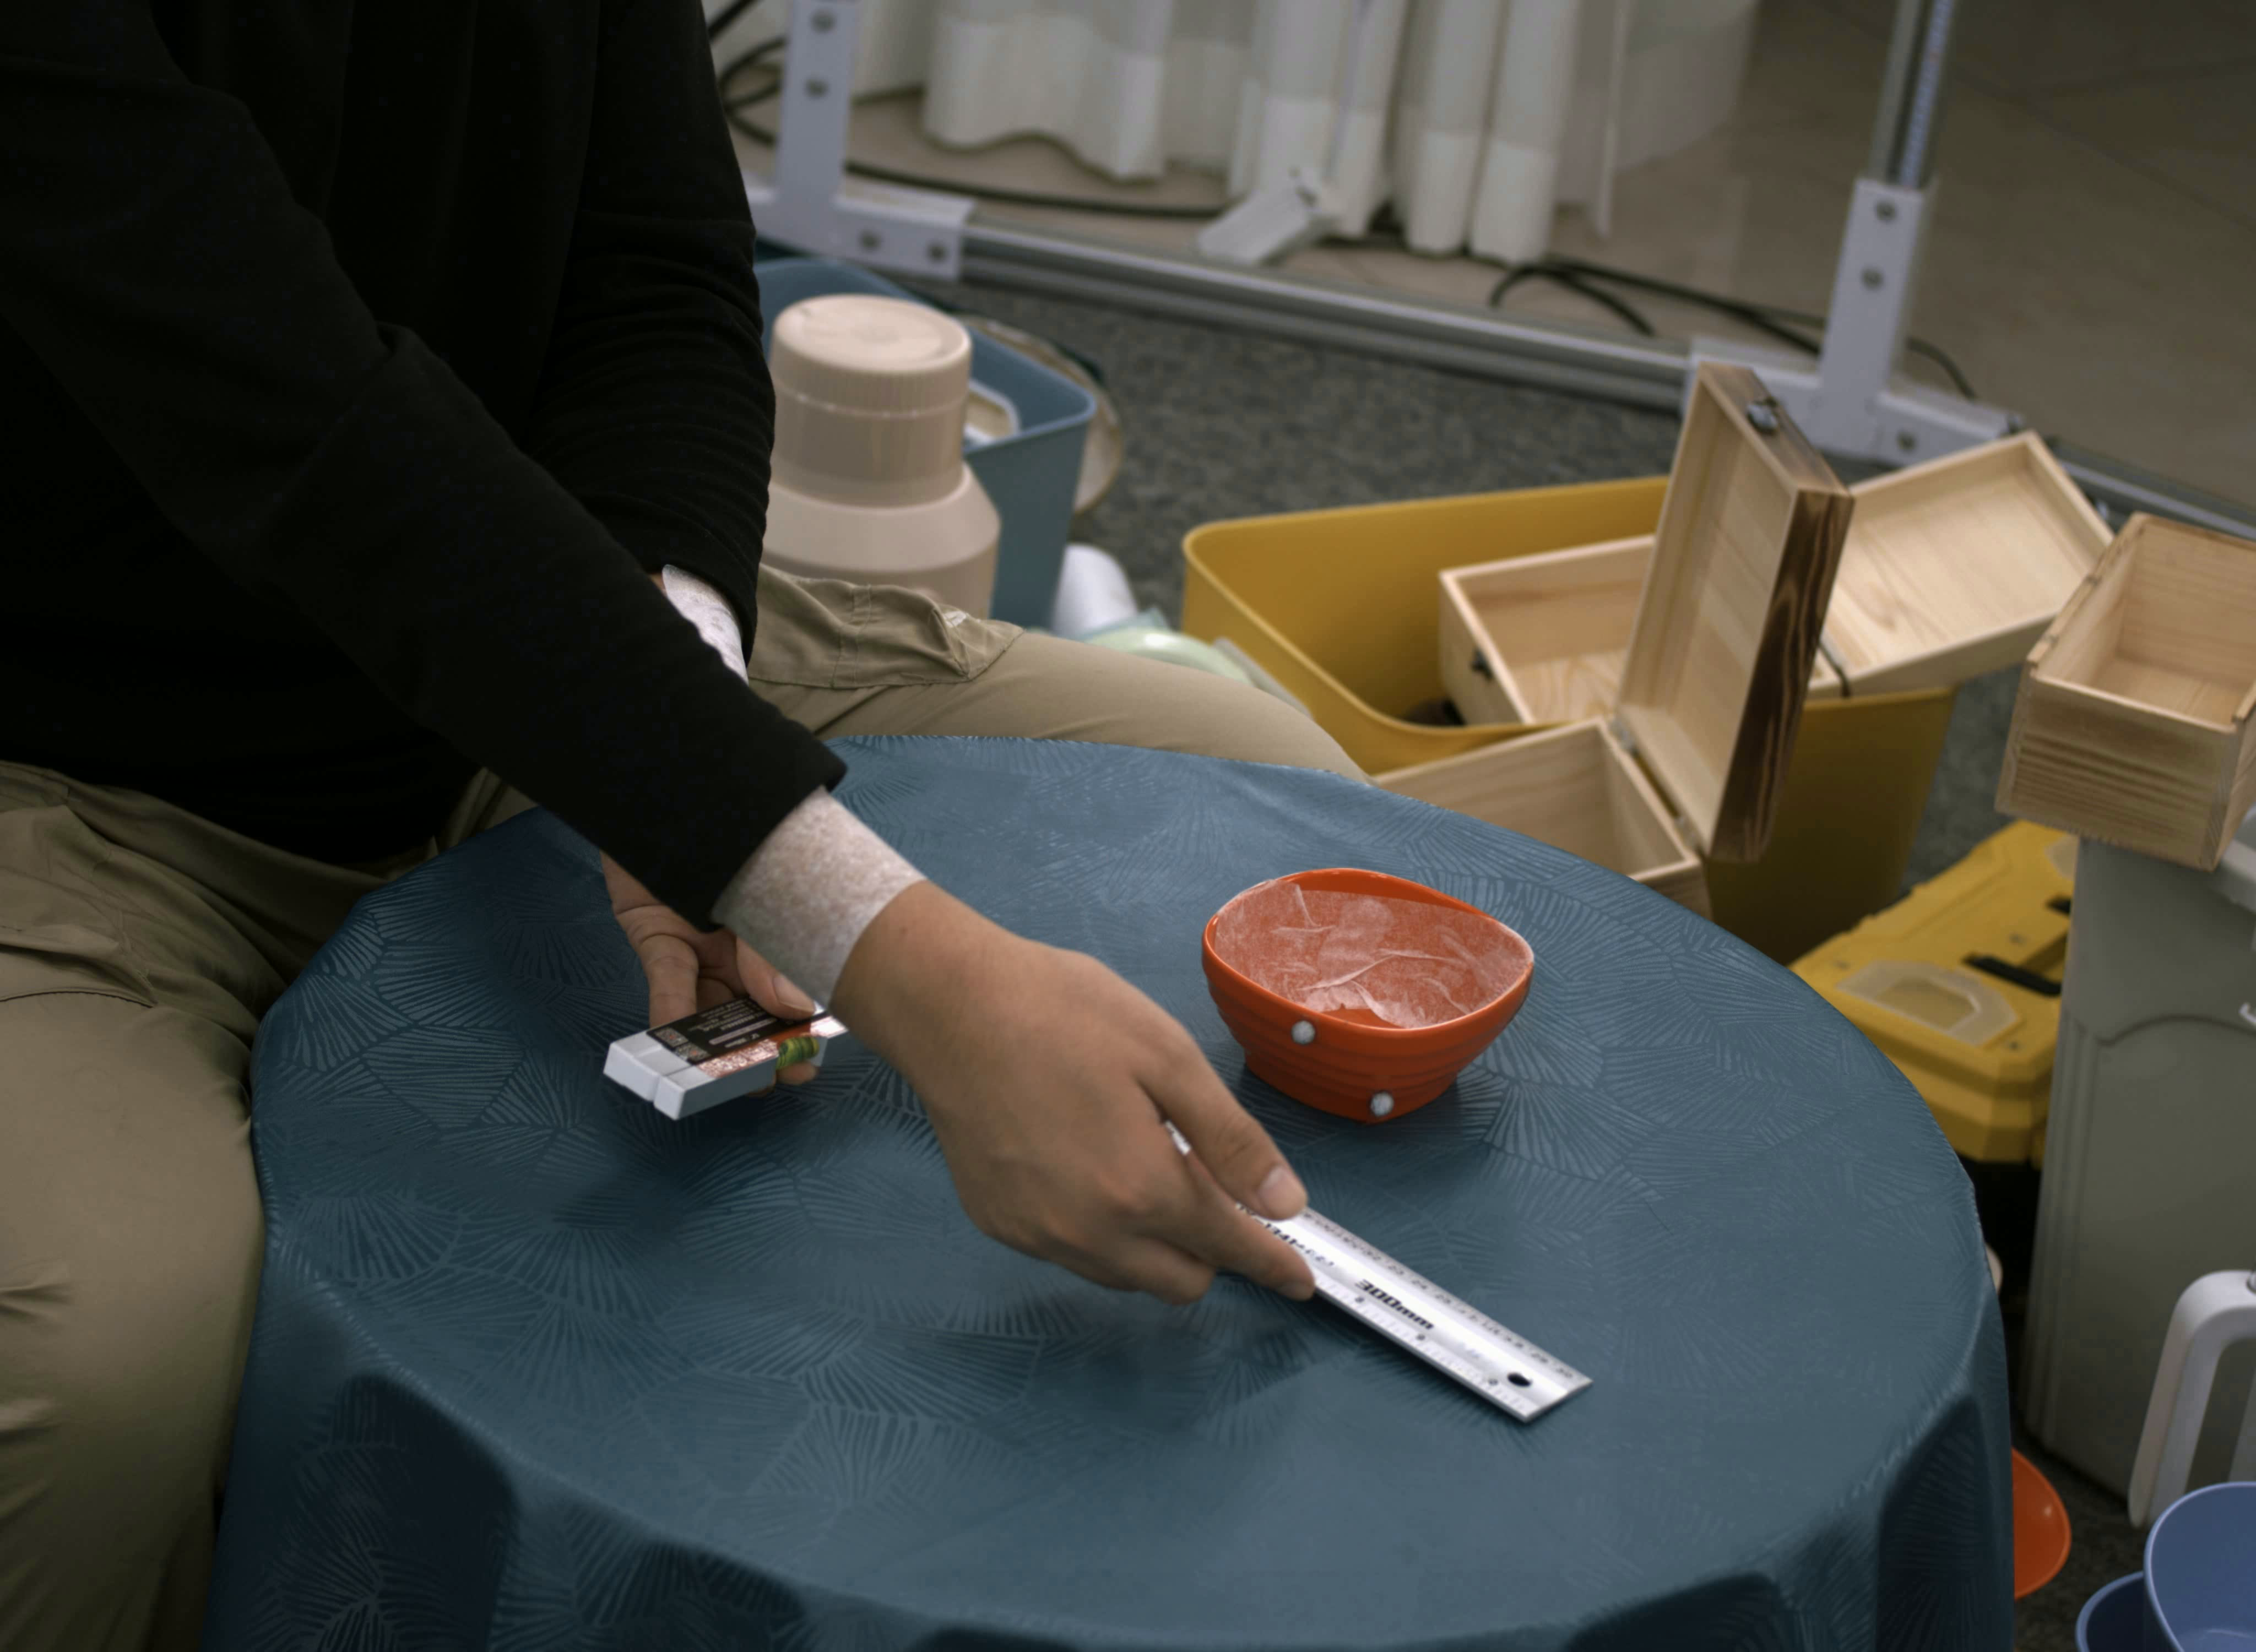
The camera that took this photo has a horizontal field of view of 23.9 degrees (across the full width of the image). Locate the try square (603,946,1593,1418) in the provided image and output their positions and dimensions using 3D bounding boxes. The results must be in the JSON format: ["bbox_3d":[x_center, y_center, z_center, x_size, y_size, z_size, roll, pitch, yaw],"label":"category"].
[{"bbox_3d":[-0.012,0.127,1.745,0.315,0.016,0.151,30,29,30],"label":"try square"}]

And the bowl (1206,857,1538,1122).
[{"bbox_3d":[0.083,0.062,1.880,0.118,0.051,0.120,6,30,-4],"label":"bowl"}]
